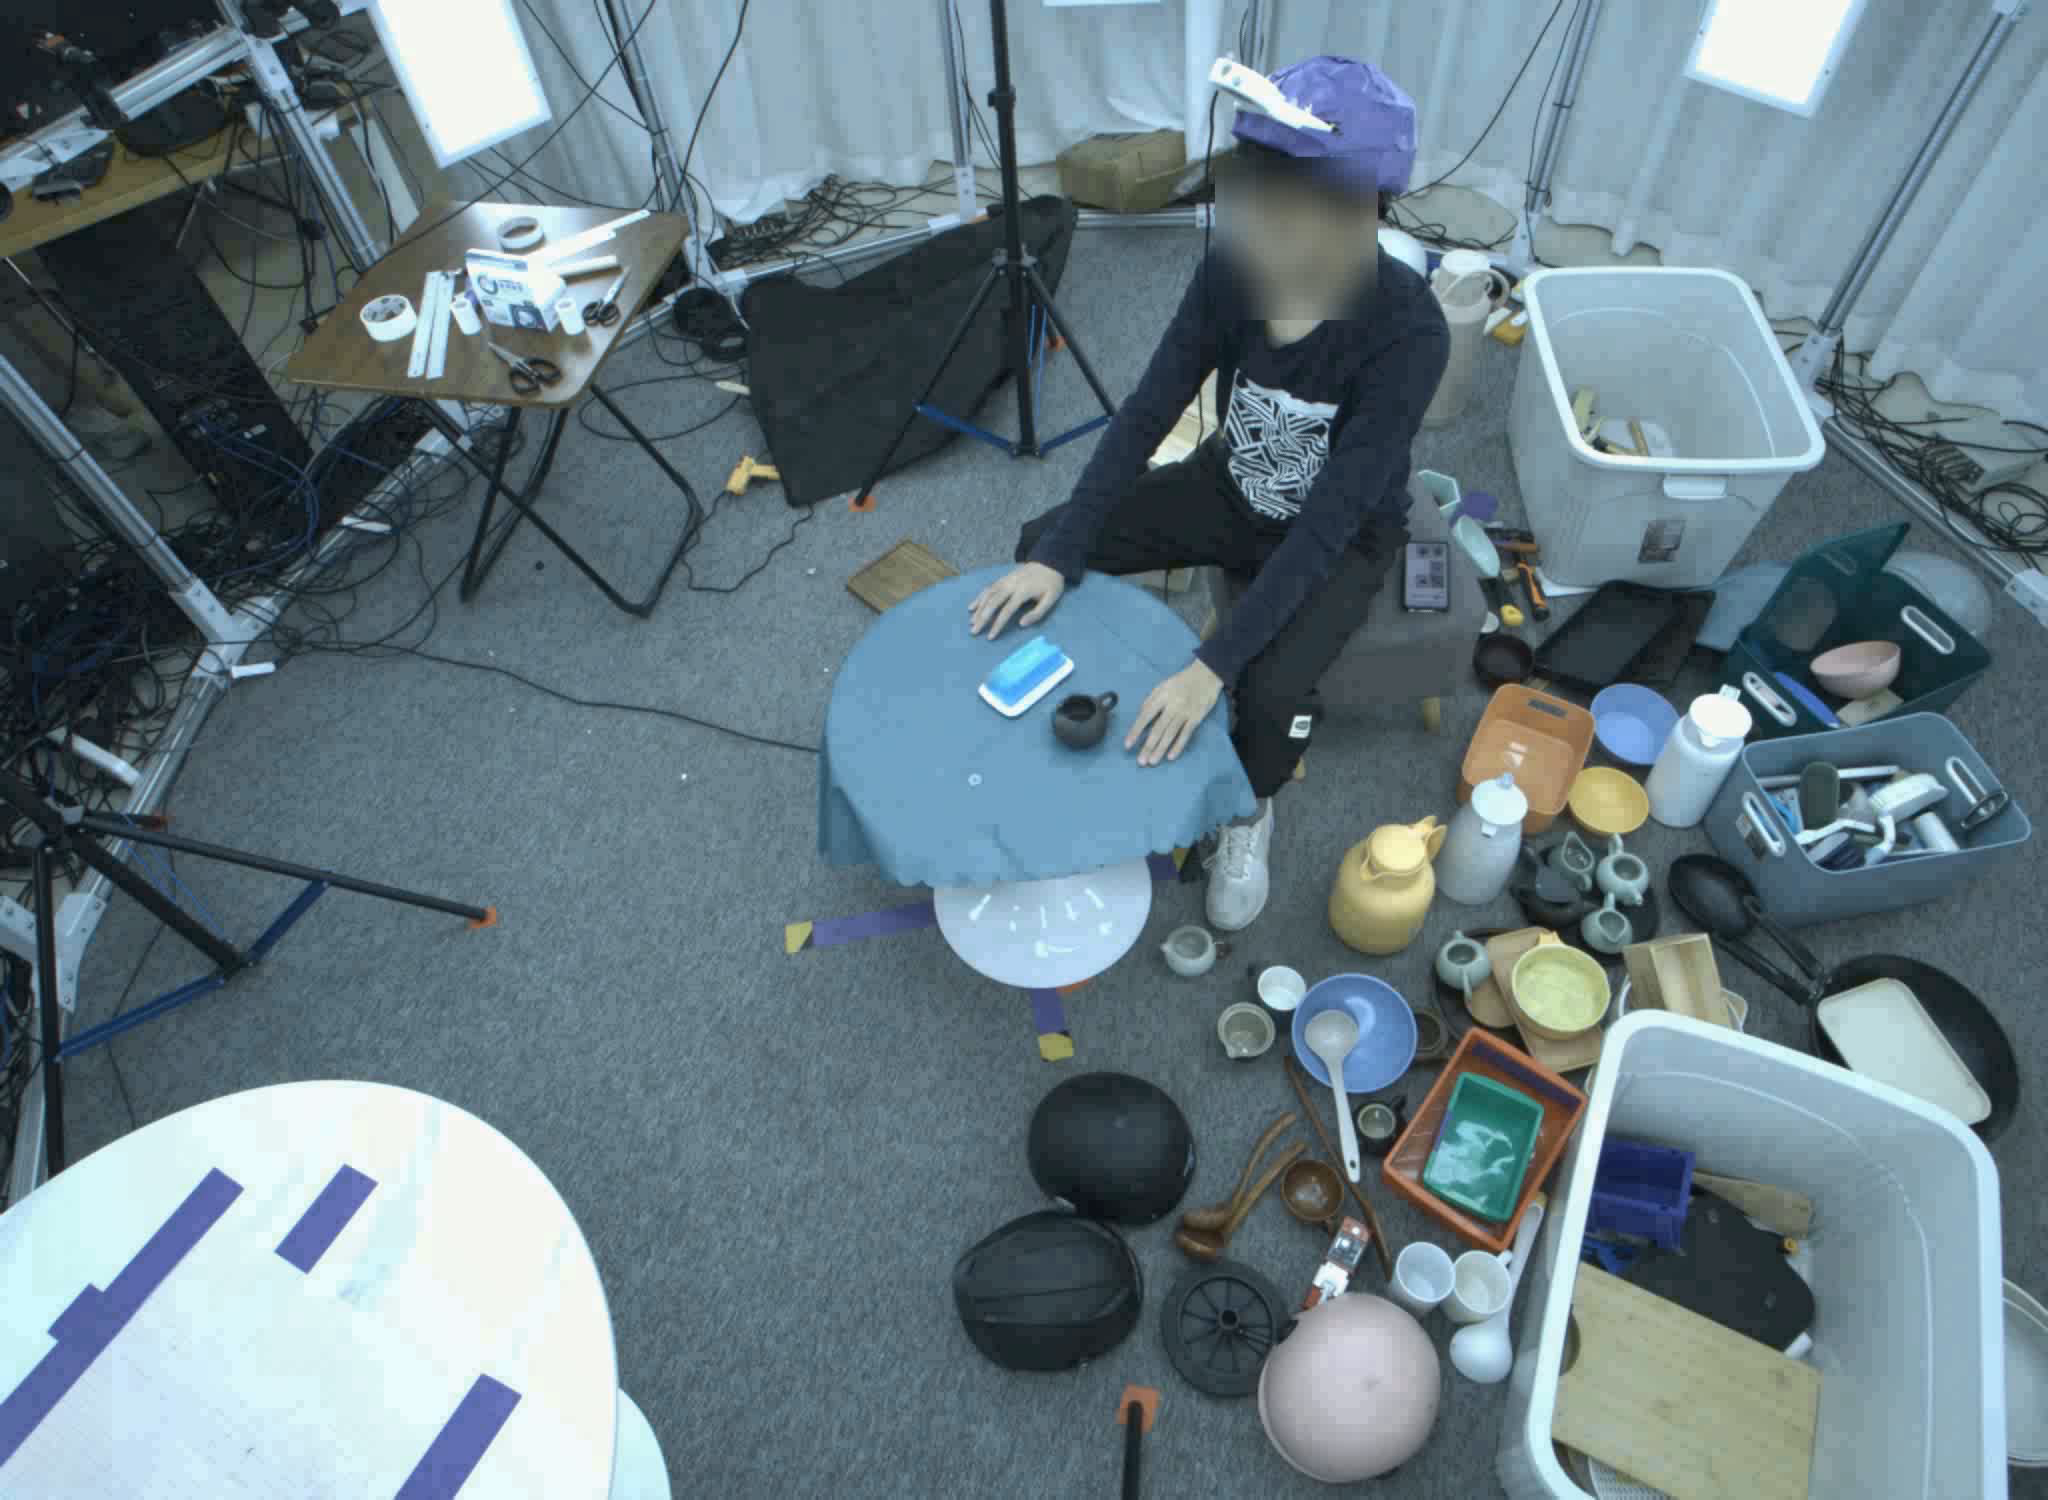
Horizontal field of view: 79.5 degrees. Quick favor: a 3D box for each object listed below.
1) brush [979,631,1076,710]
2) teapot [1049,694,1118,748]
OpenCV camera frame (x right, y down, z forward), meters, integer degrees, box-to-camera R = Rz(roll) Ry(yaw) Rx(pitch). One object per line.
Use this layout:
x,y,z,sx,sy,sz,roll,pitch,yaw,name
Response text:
0.006,-0.127,1.833,0.145,0.056,0.082,-39,65,-21,brush
0.088,-0.049,1.781,0.115,0.053,0.081,-29,62,-14,teapot
